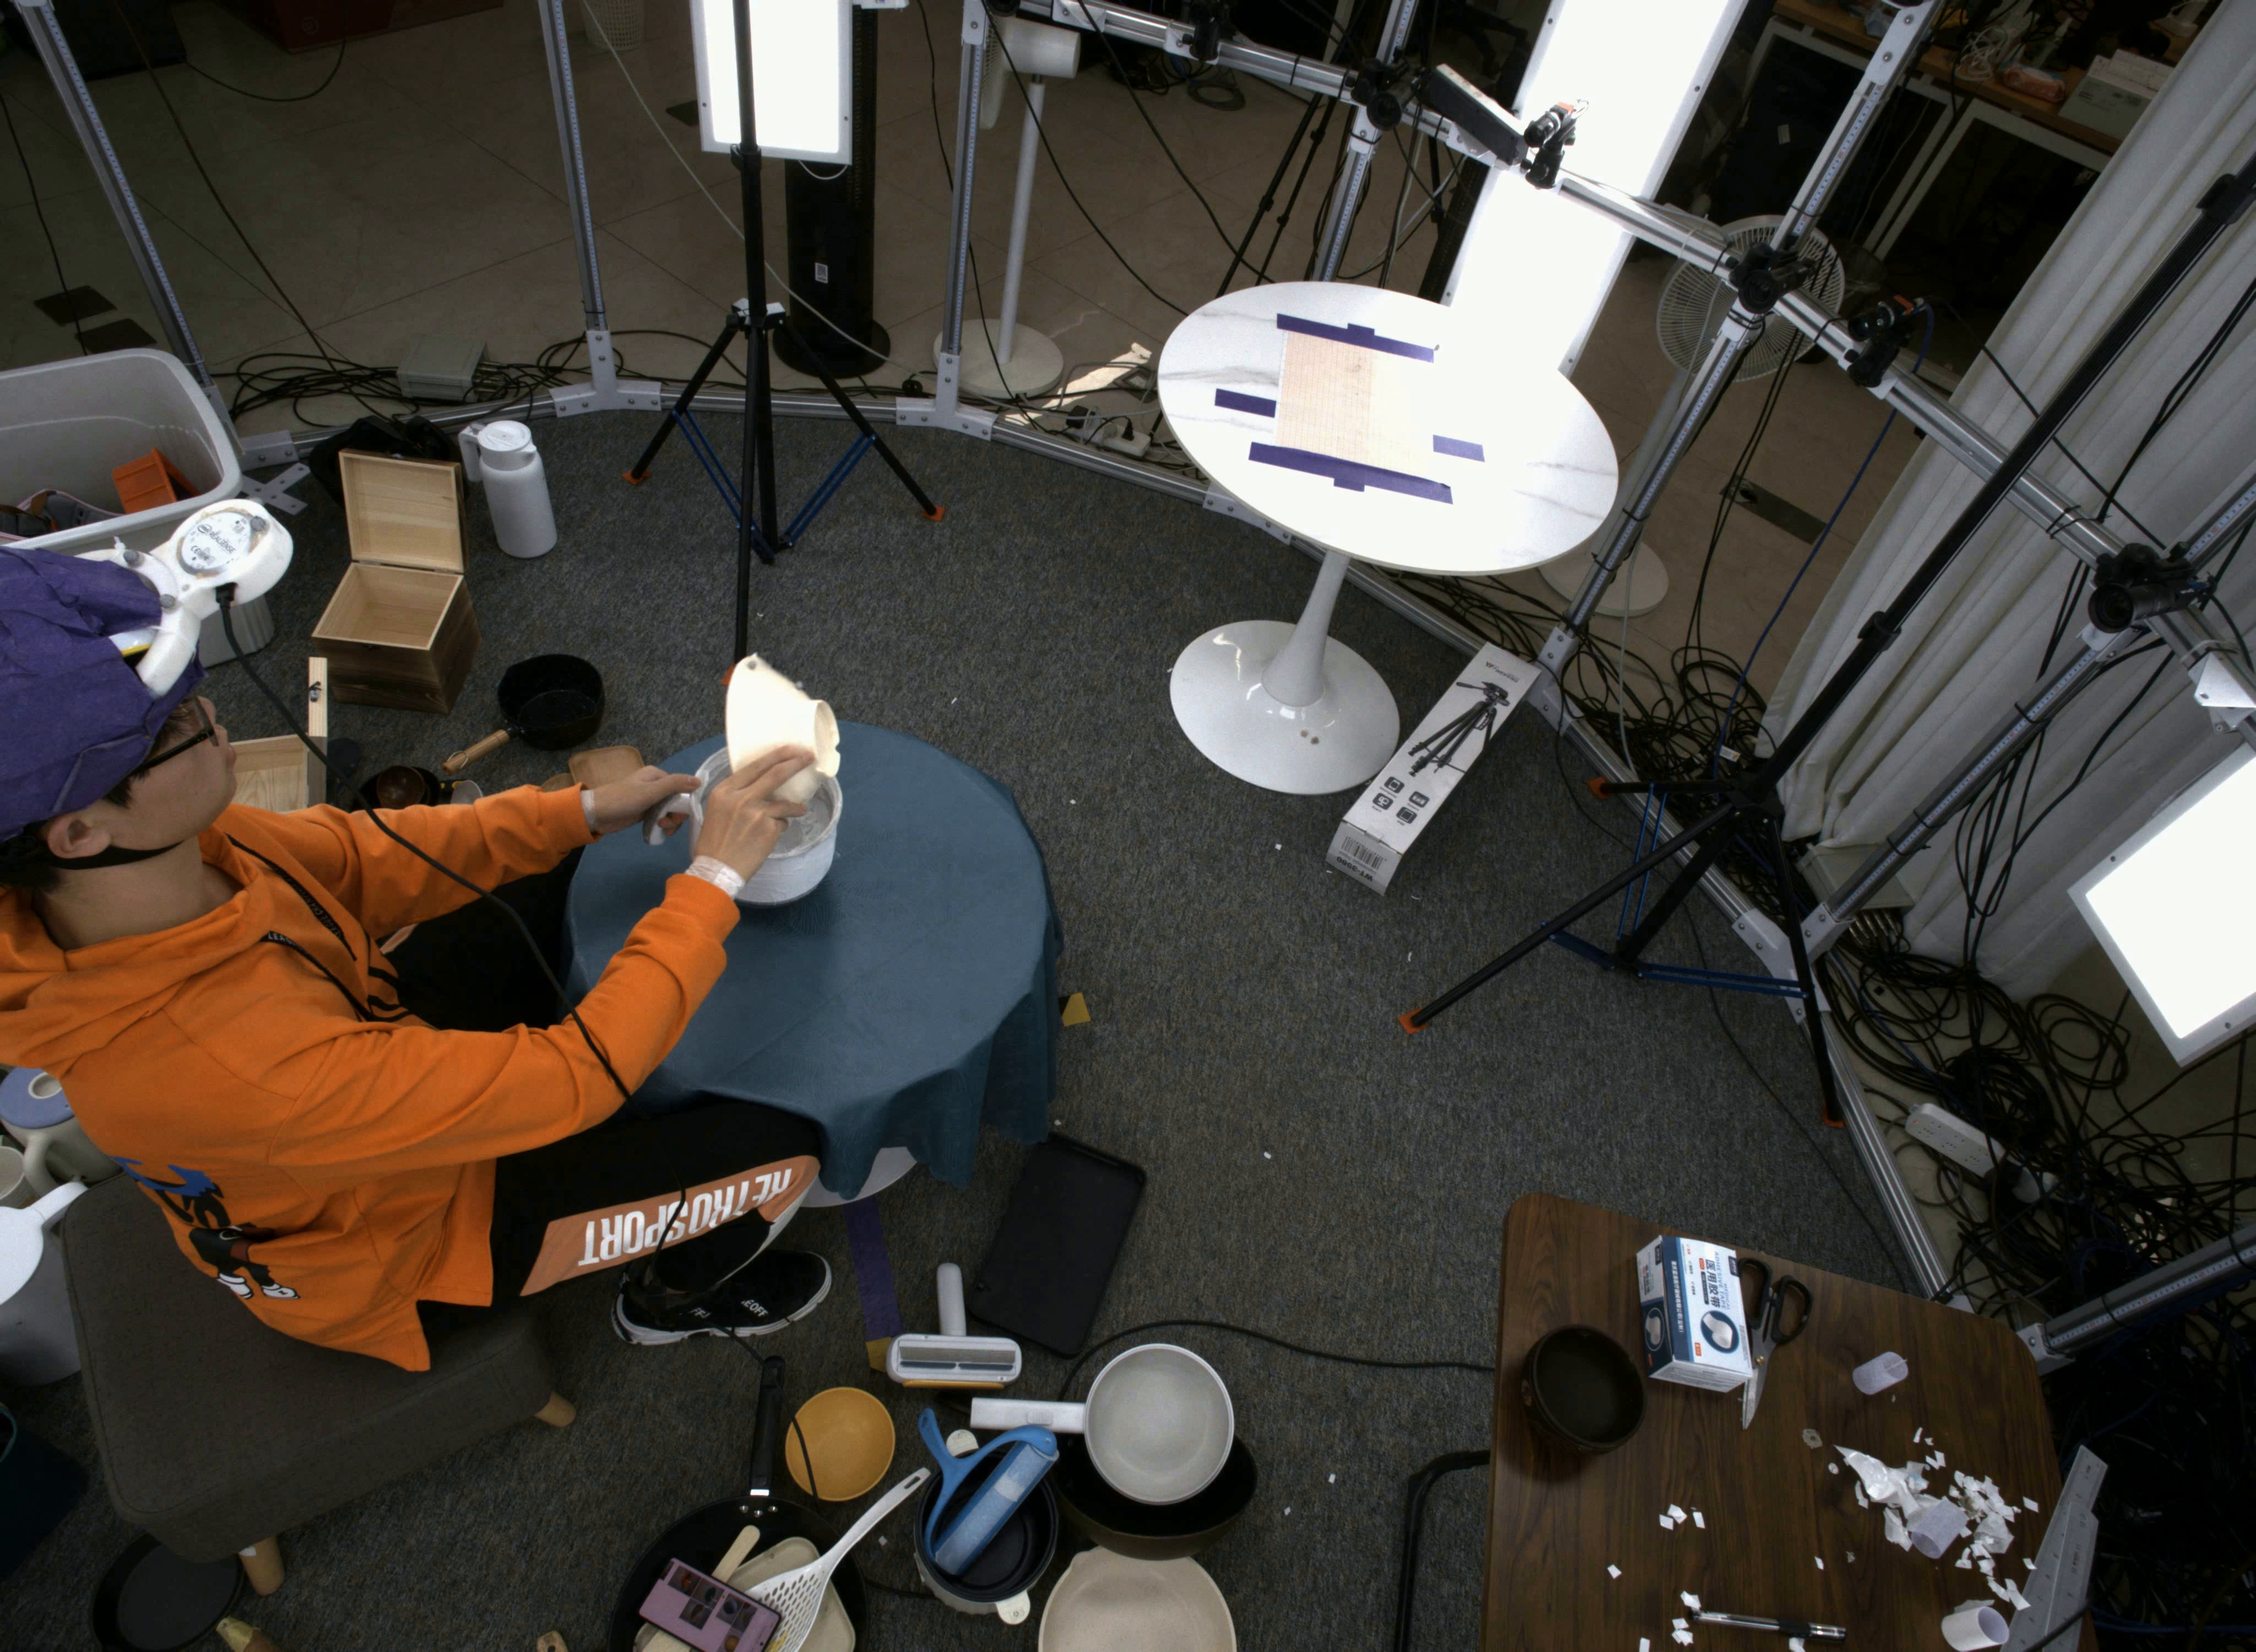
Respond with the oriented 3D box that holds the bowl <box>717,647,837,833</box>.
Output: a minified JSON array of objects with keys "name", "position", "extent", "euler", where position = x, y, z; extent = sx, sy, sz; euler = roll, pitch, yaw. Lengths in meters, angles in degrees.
[{"name":"bowl","position":[-0.373,-0.101,1.427],"extent":[0.077,0.211,0.200],"euler":[-9,52,6]}]

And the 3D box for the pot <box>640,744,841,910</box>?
[{"name":"pot","position":[-0.470,-0.004,1.560],"extent":[0.235,0.138,0.175],"euler":[7,52,-17]}]
